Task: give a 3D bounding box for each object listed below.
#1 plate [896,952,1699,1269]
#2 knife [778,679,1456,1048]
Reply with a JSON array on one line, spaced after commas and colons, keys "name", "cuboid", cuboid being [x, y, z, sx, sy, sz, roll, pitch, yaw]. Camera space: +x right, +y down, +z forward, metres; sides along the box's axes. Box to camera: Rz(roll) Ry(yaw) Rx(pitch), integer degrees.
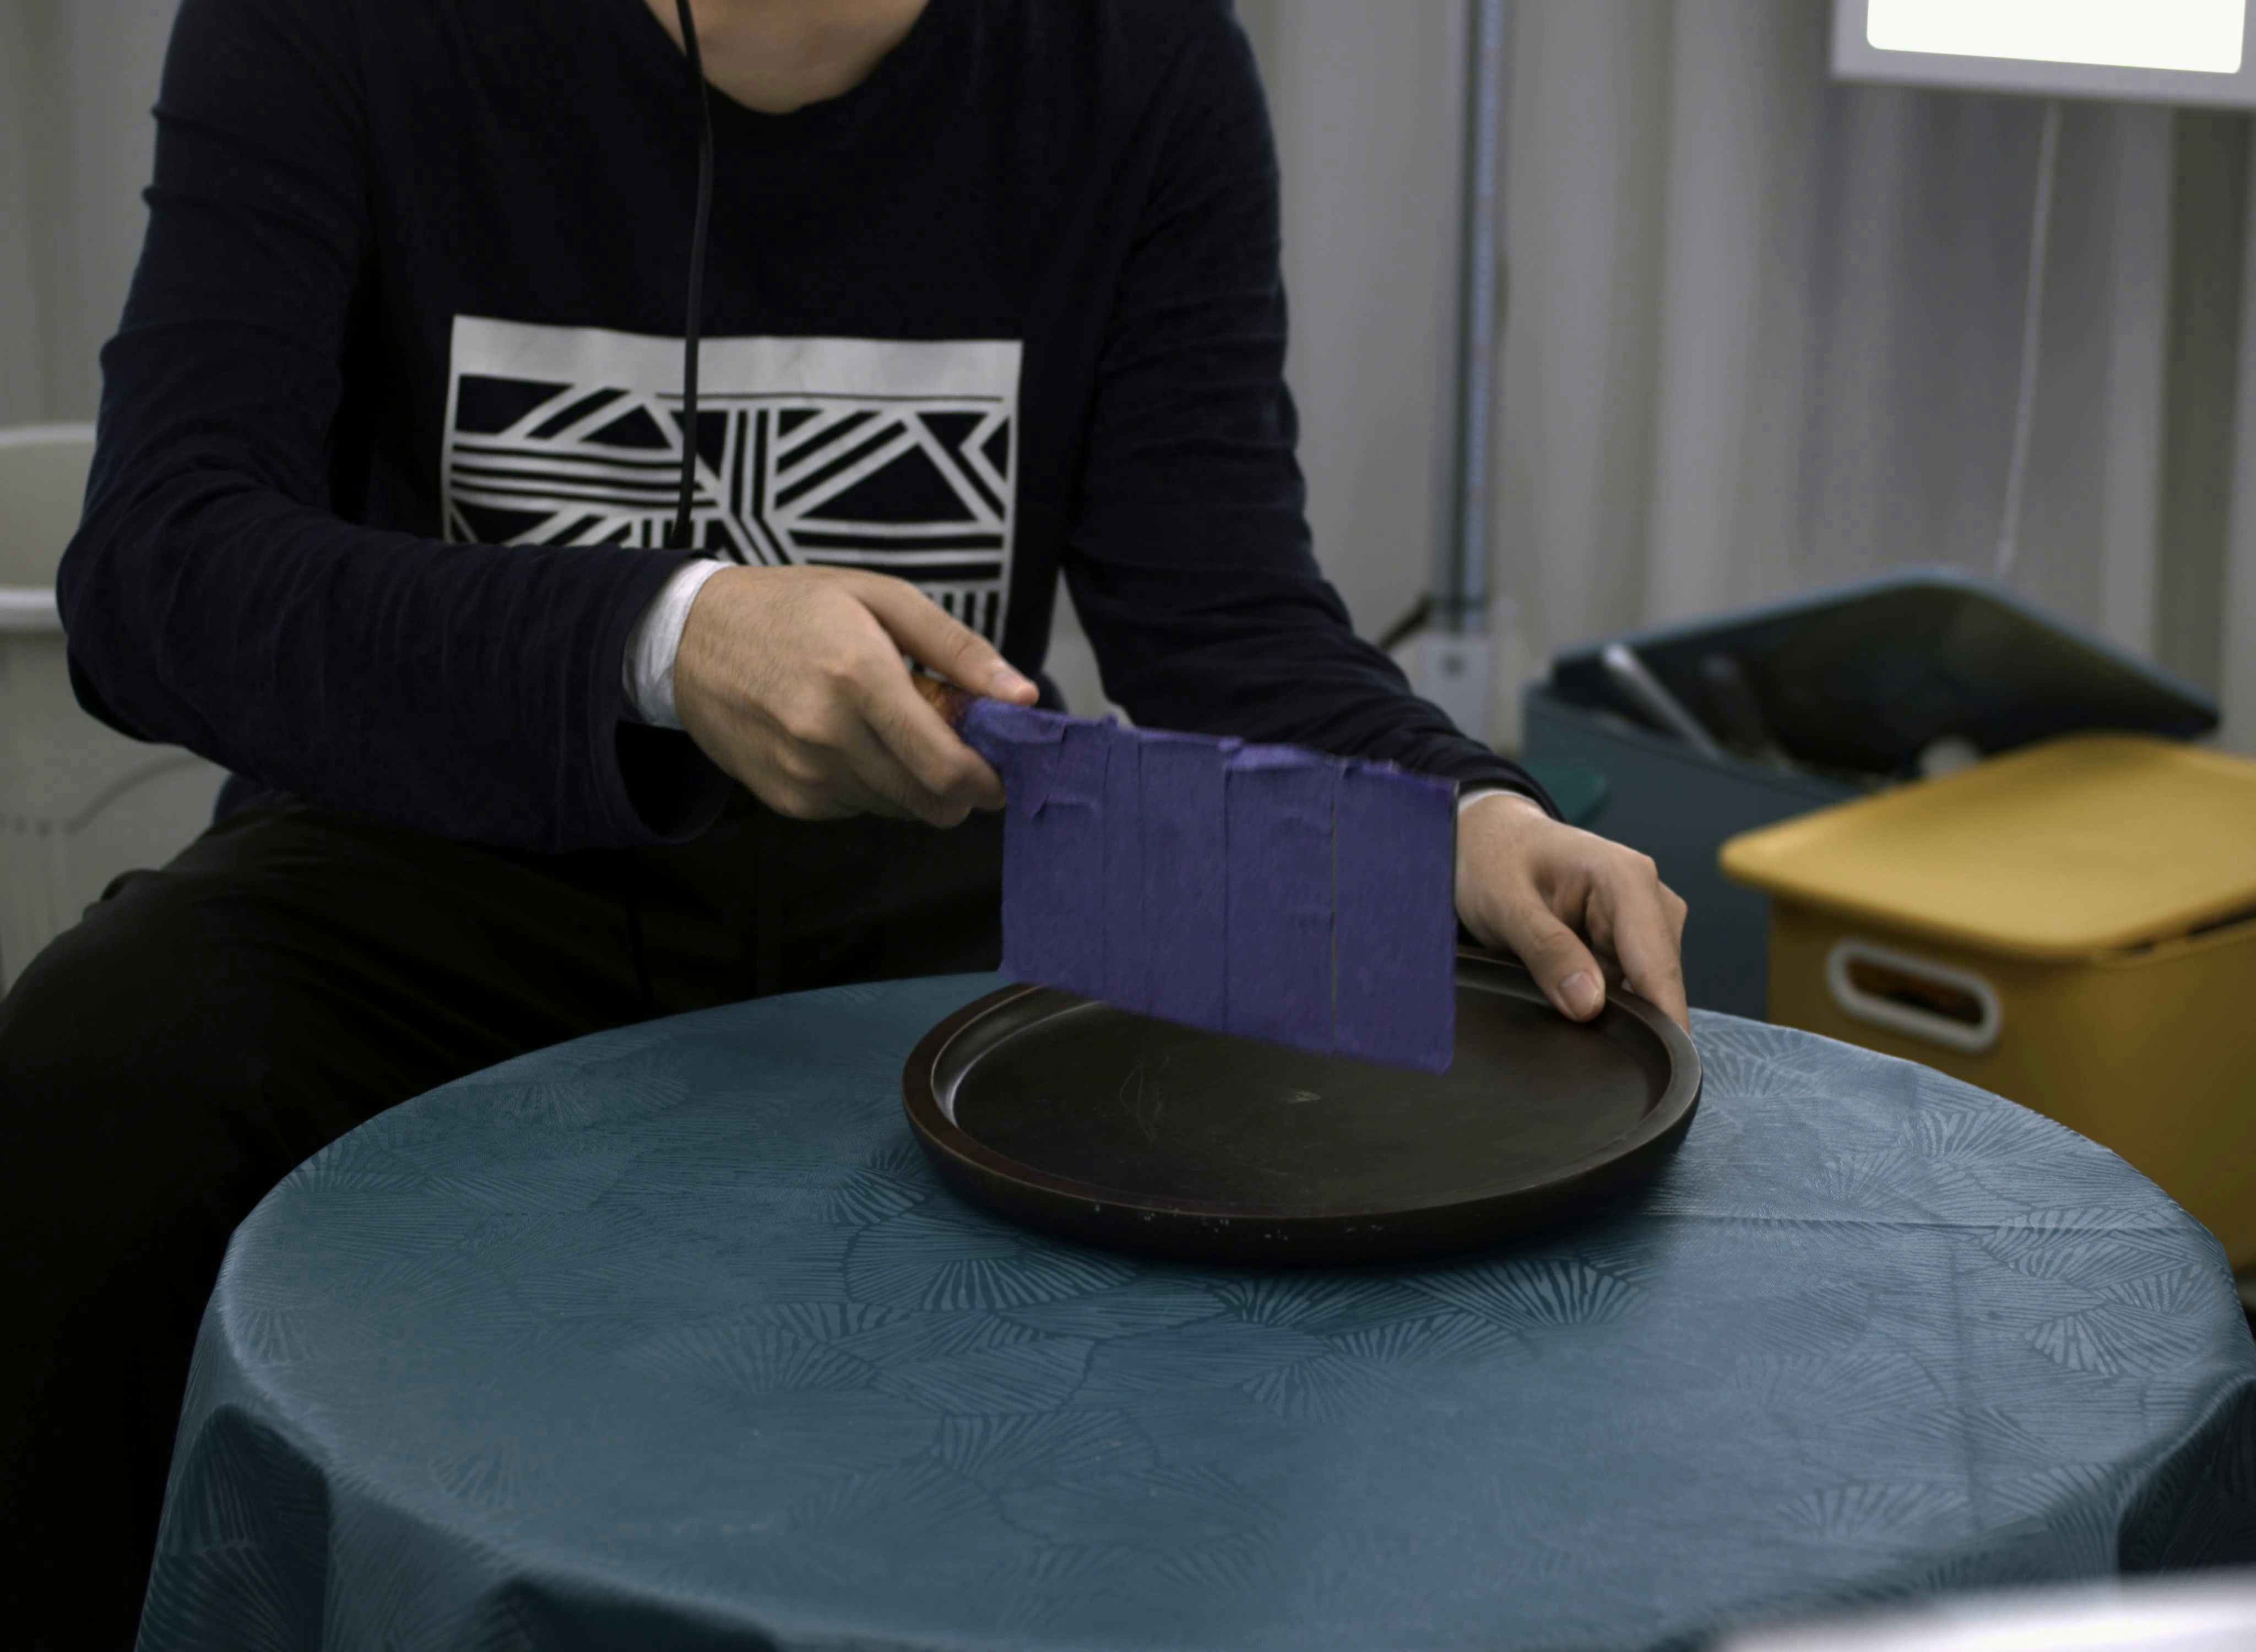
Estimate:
[{"name": "plate", "cuboid": [0.053, 0.085, 1.660, 0.254, 0.029, 0.253, -1, 19, 1]}, {"name": "knife", "cuboid": [-0.009, 0.011, 1.655, 0.032, 0.104, 0.311, -4, 9, -39]}]
